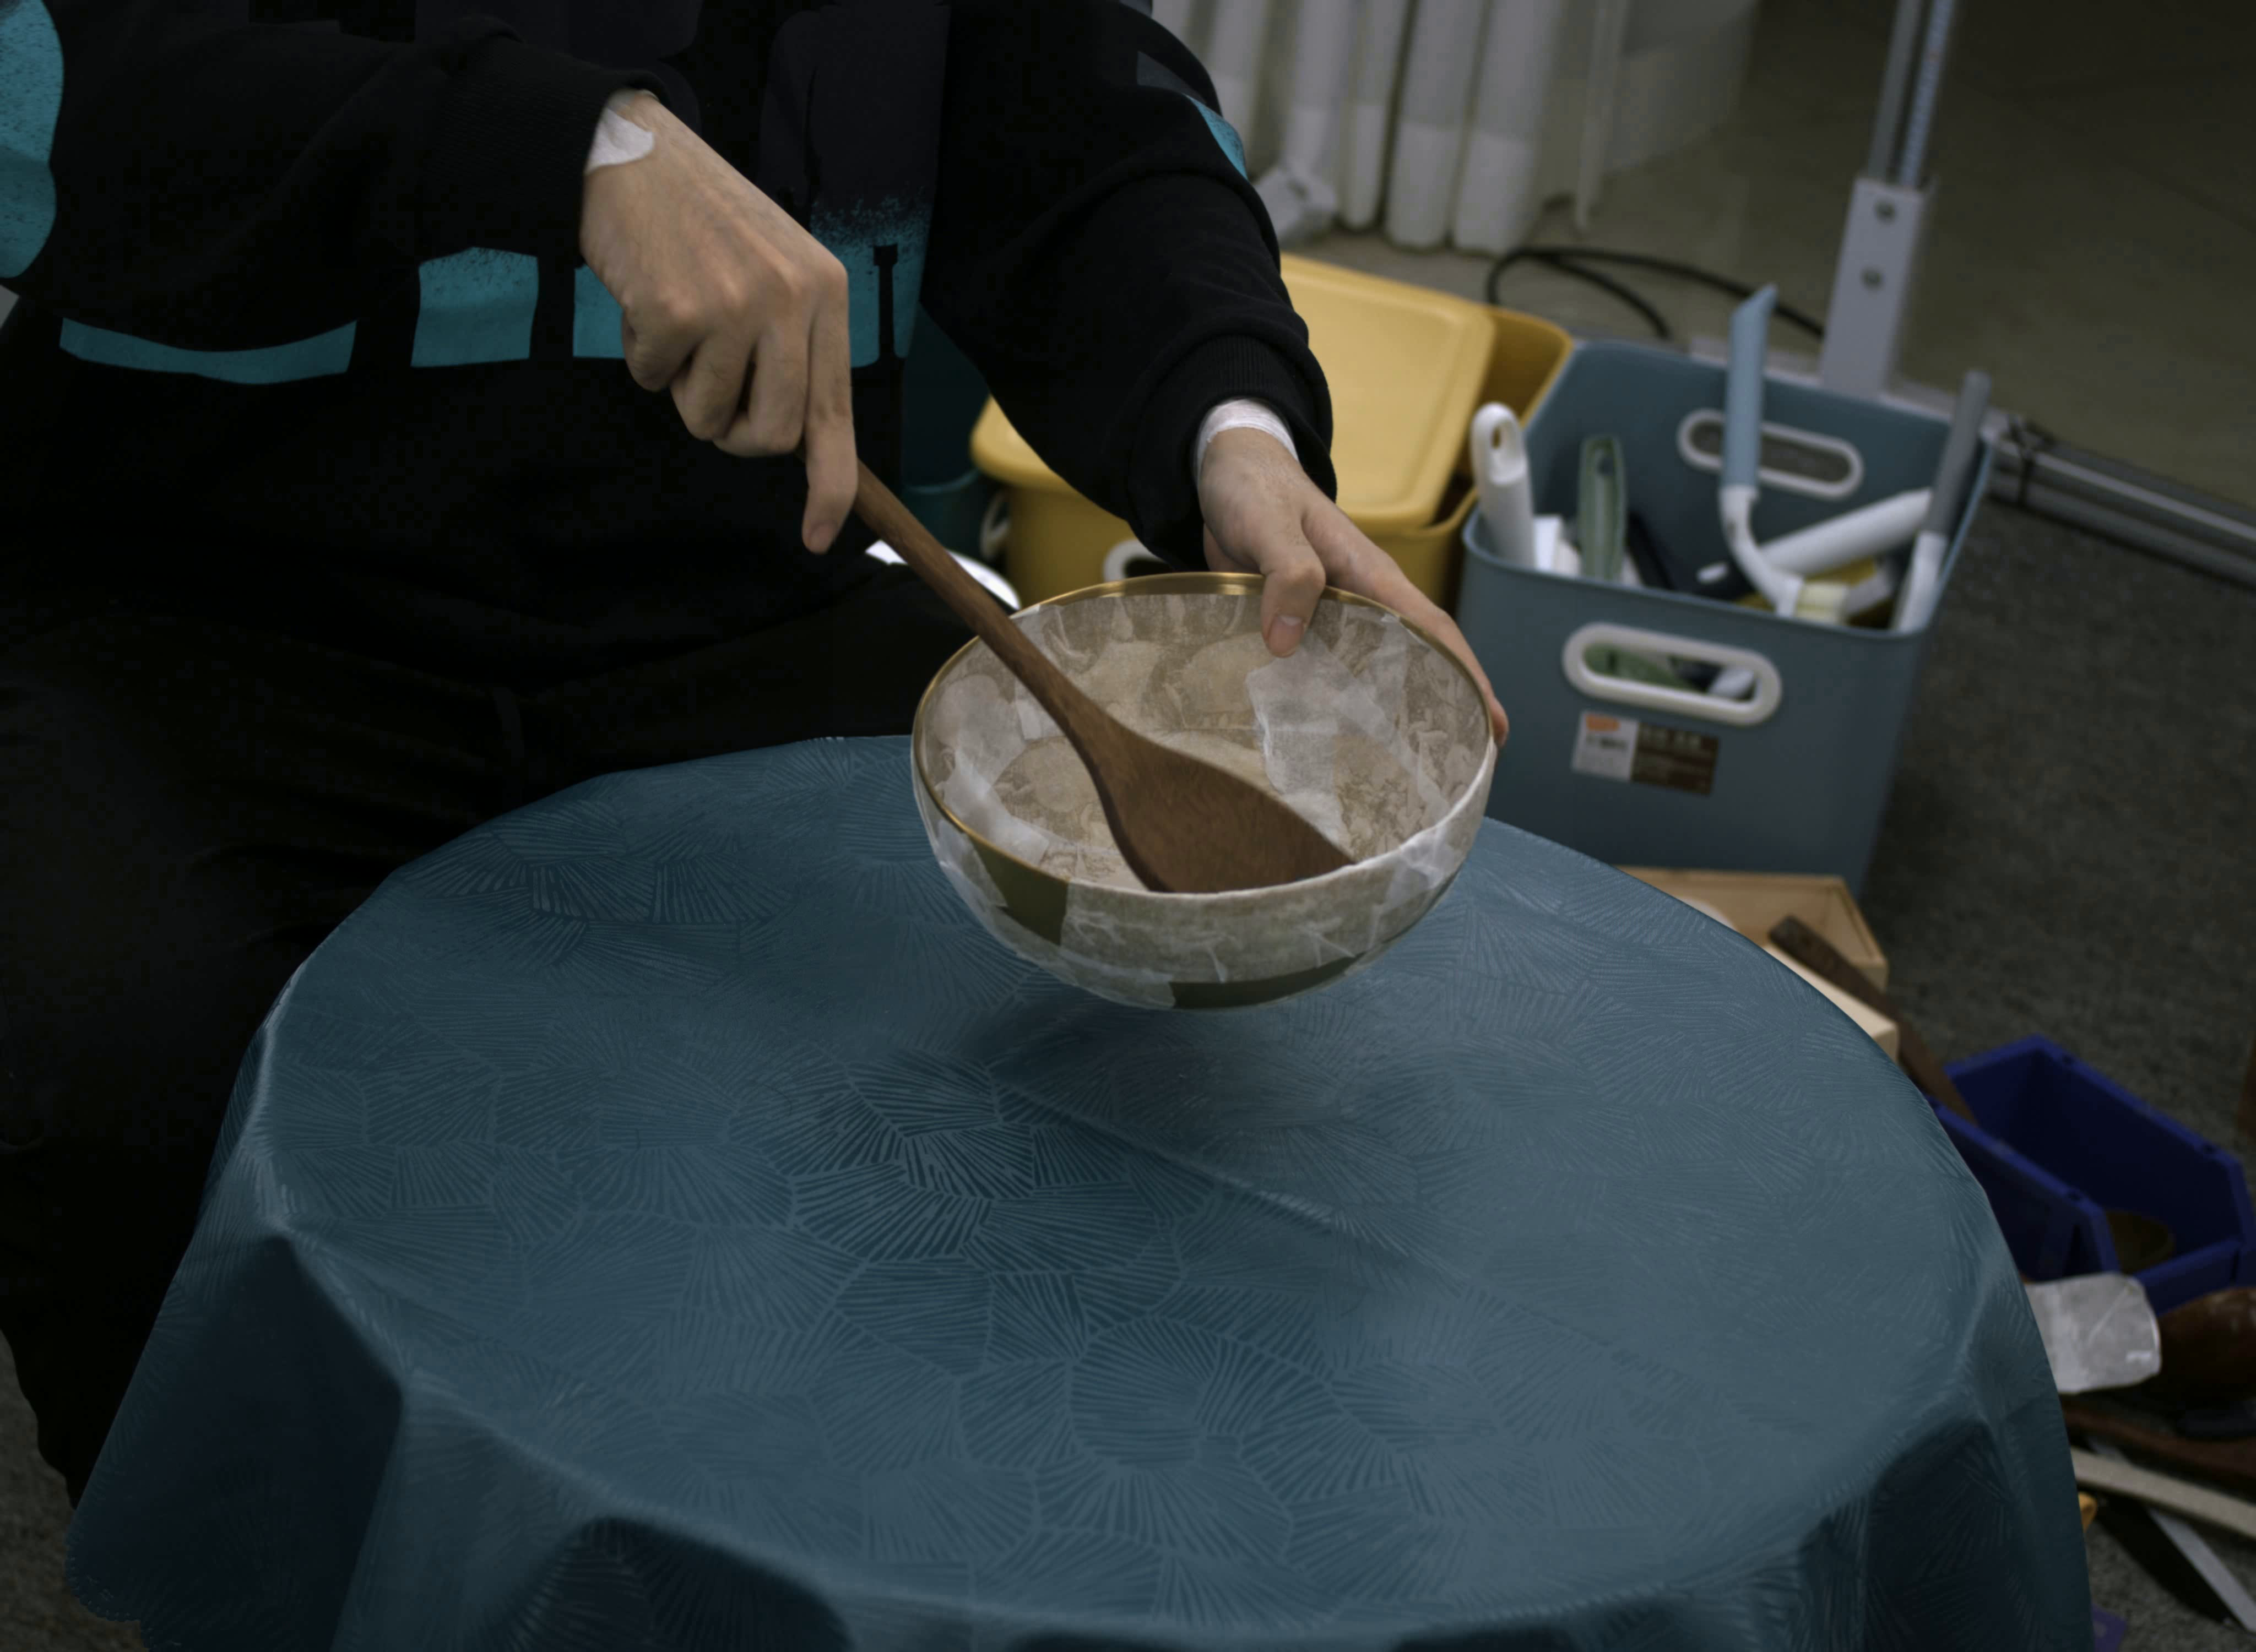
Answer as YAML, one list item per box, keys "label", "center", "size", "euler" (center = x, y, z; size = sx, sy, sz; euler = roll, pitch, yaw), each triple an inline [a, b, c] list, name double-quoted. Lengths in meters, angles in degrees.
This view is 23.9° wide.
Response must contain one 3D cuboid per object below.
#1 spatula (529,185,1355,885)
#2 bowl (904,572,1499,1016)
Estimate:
- label: "spatula"
  center: [-0.068, -0.092, 1.833]
  size: [0.387, 0.016, 0.096]
  euler: [44, 33, 8]
- label: "bowl"
  center: [0.028, 0.001, 1.840]
  size: [0.214, 0.094, 0.216]
  euler: [-3, 32, 2]
